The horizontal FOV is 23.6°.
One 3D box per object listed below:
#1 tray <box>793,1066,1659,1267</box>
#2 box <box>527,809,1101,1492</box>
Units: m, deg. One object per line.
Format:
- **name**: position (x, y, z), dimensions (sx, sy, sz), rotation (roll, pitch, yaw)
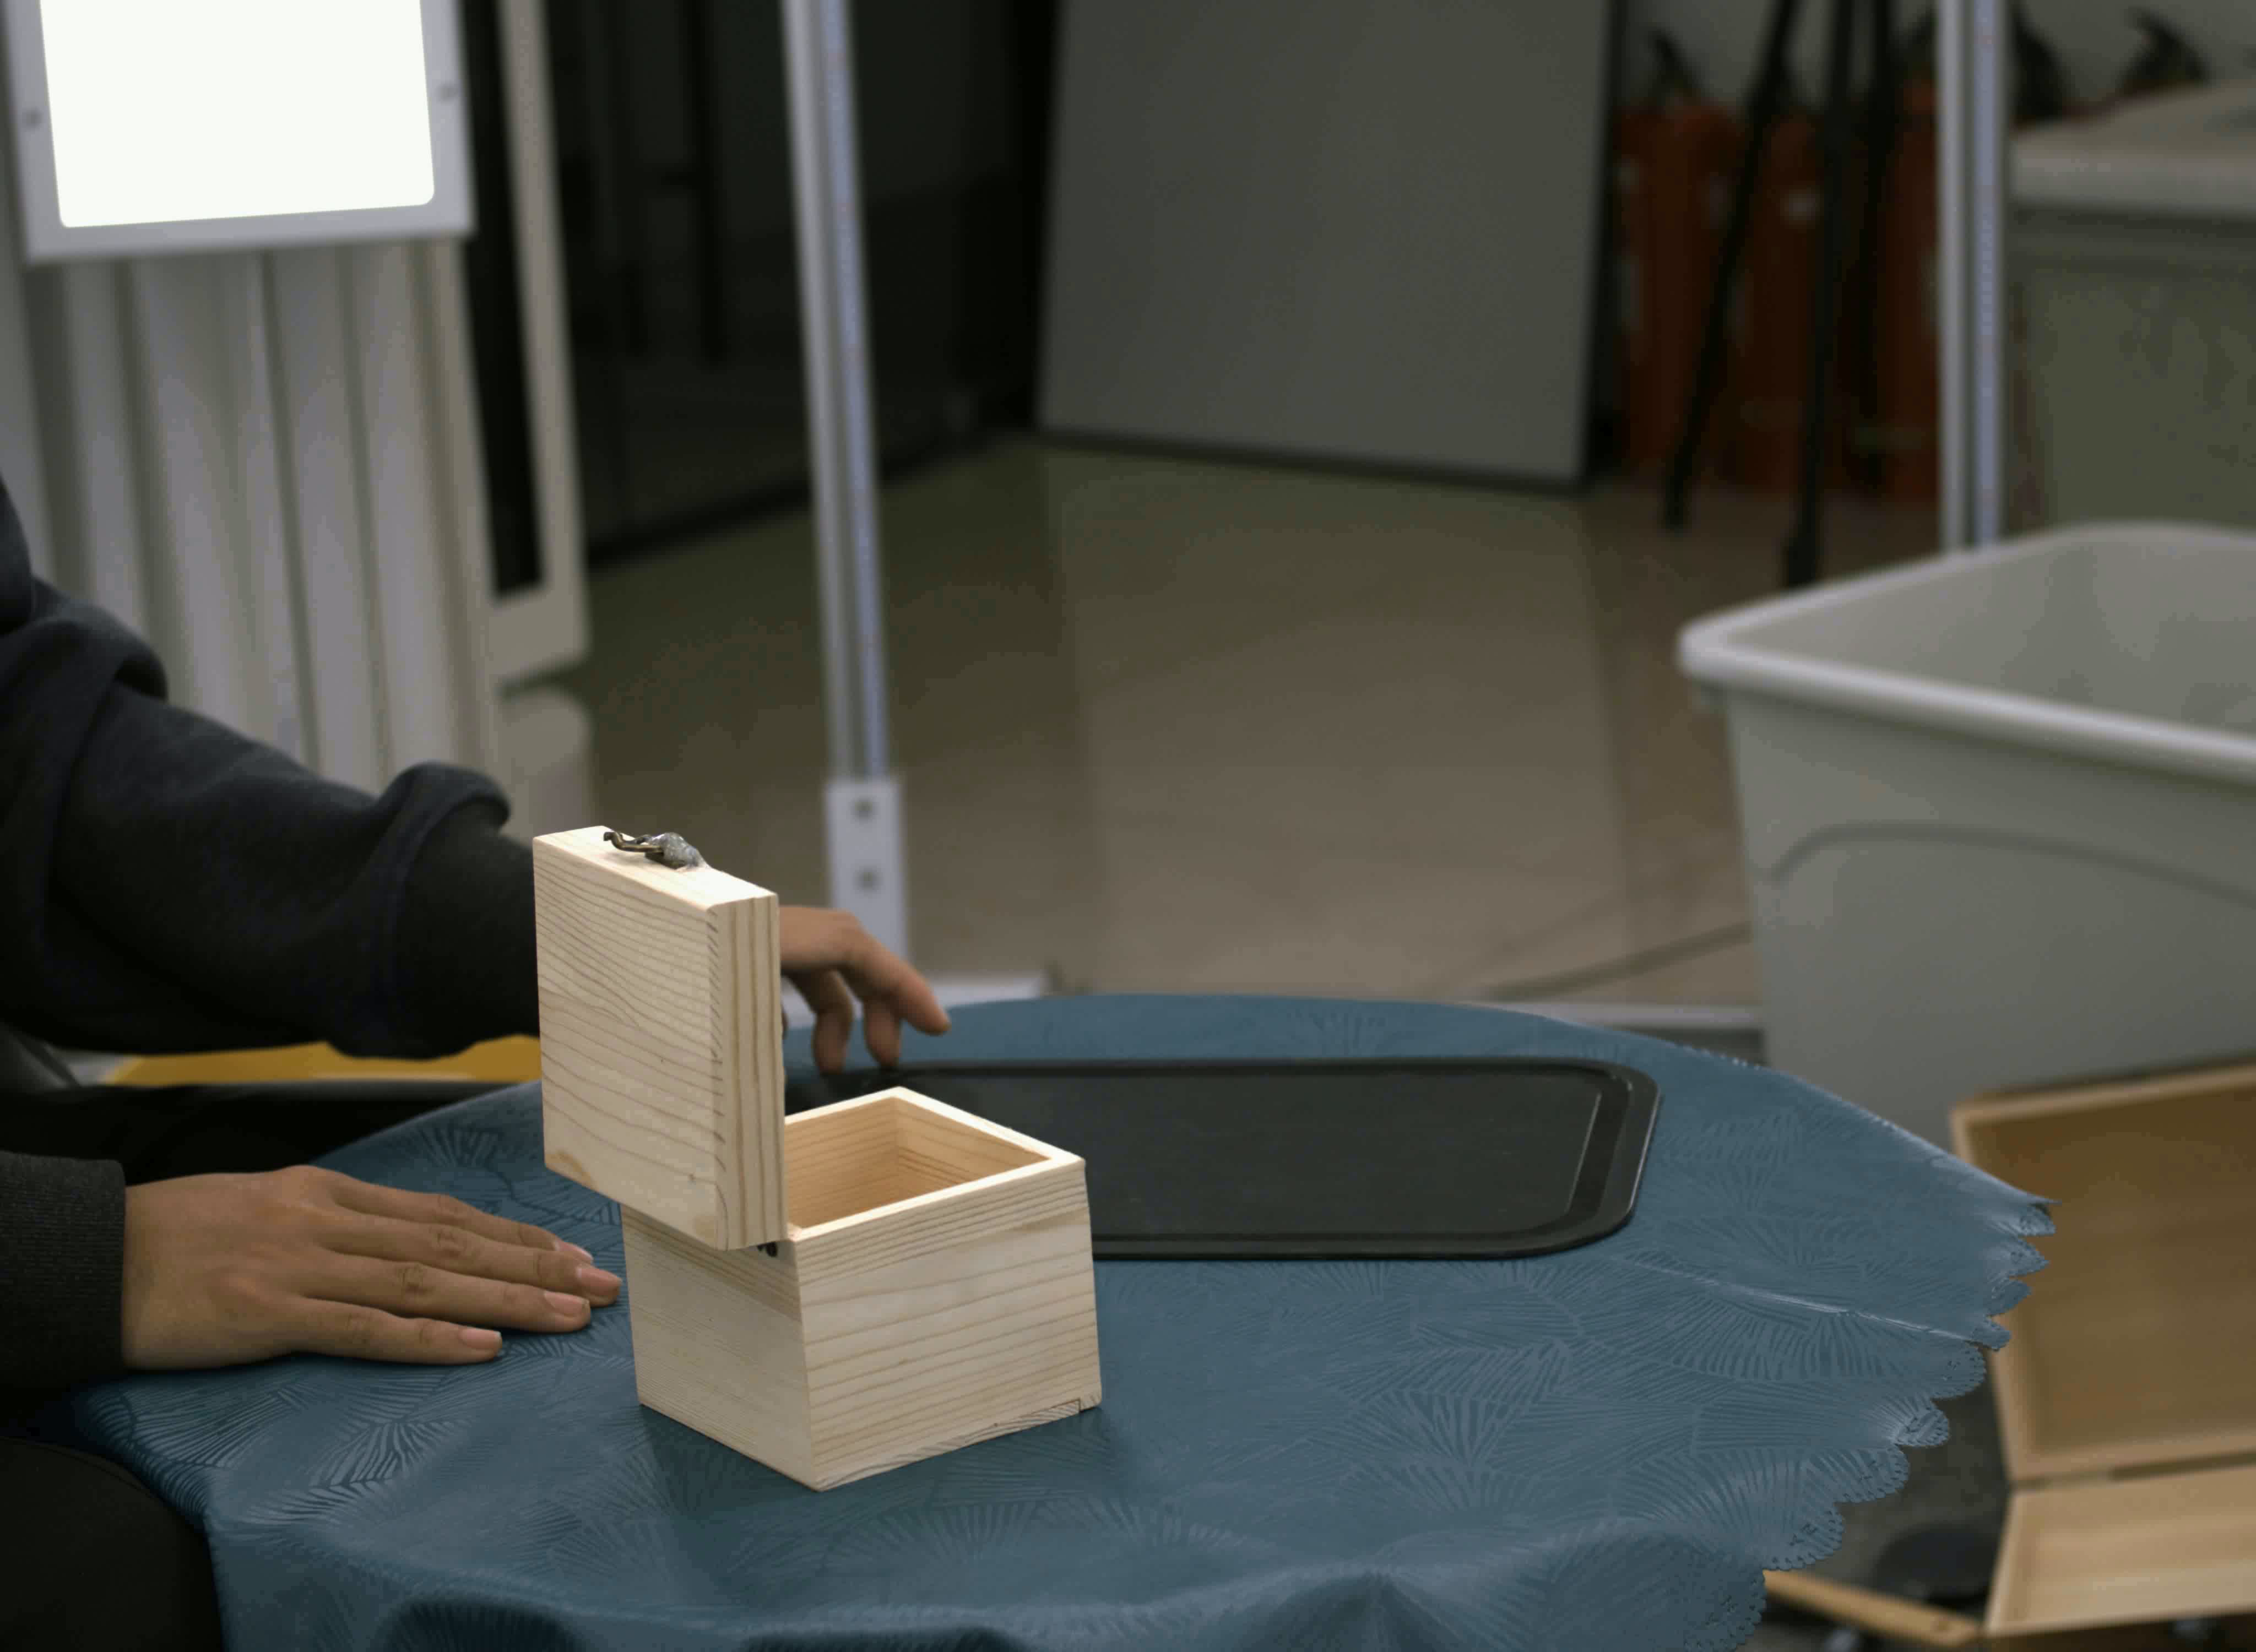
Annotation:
- **tray**: position (0.012, 0.110, 1.799), dimensions (0.323, 0.010, 0.210), rotation (-1, 14, 12)
- **box**: position (-0.089, 0.082, 1.559), dimensions (0.131, 0.186, 0.104), rotation (-14, 17, -32)
